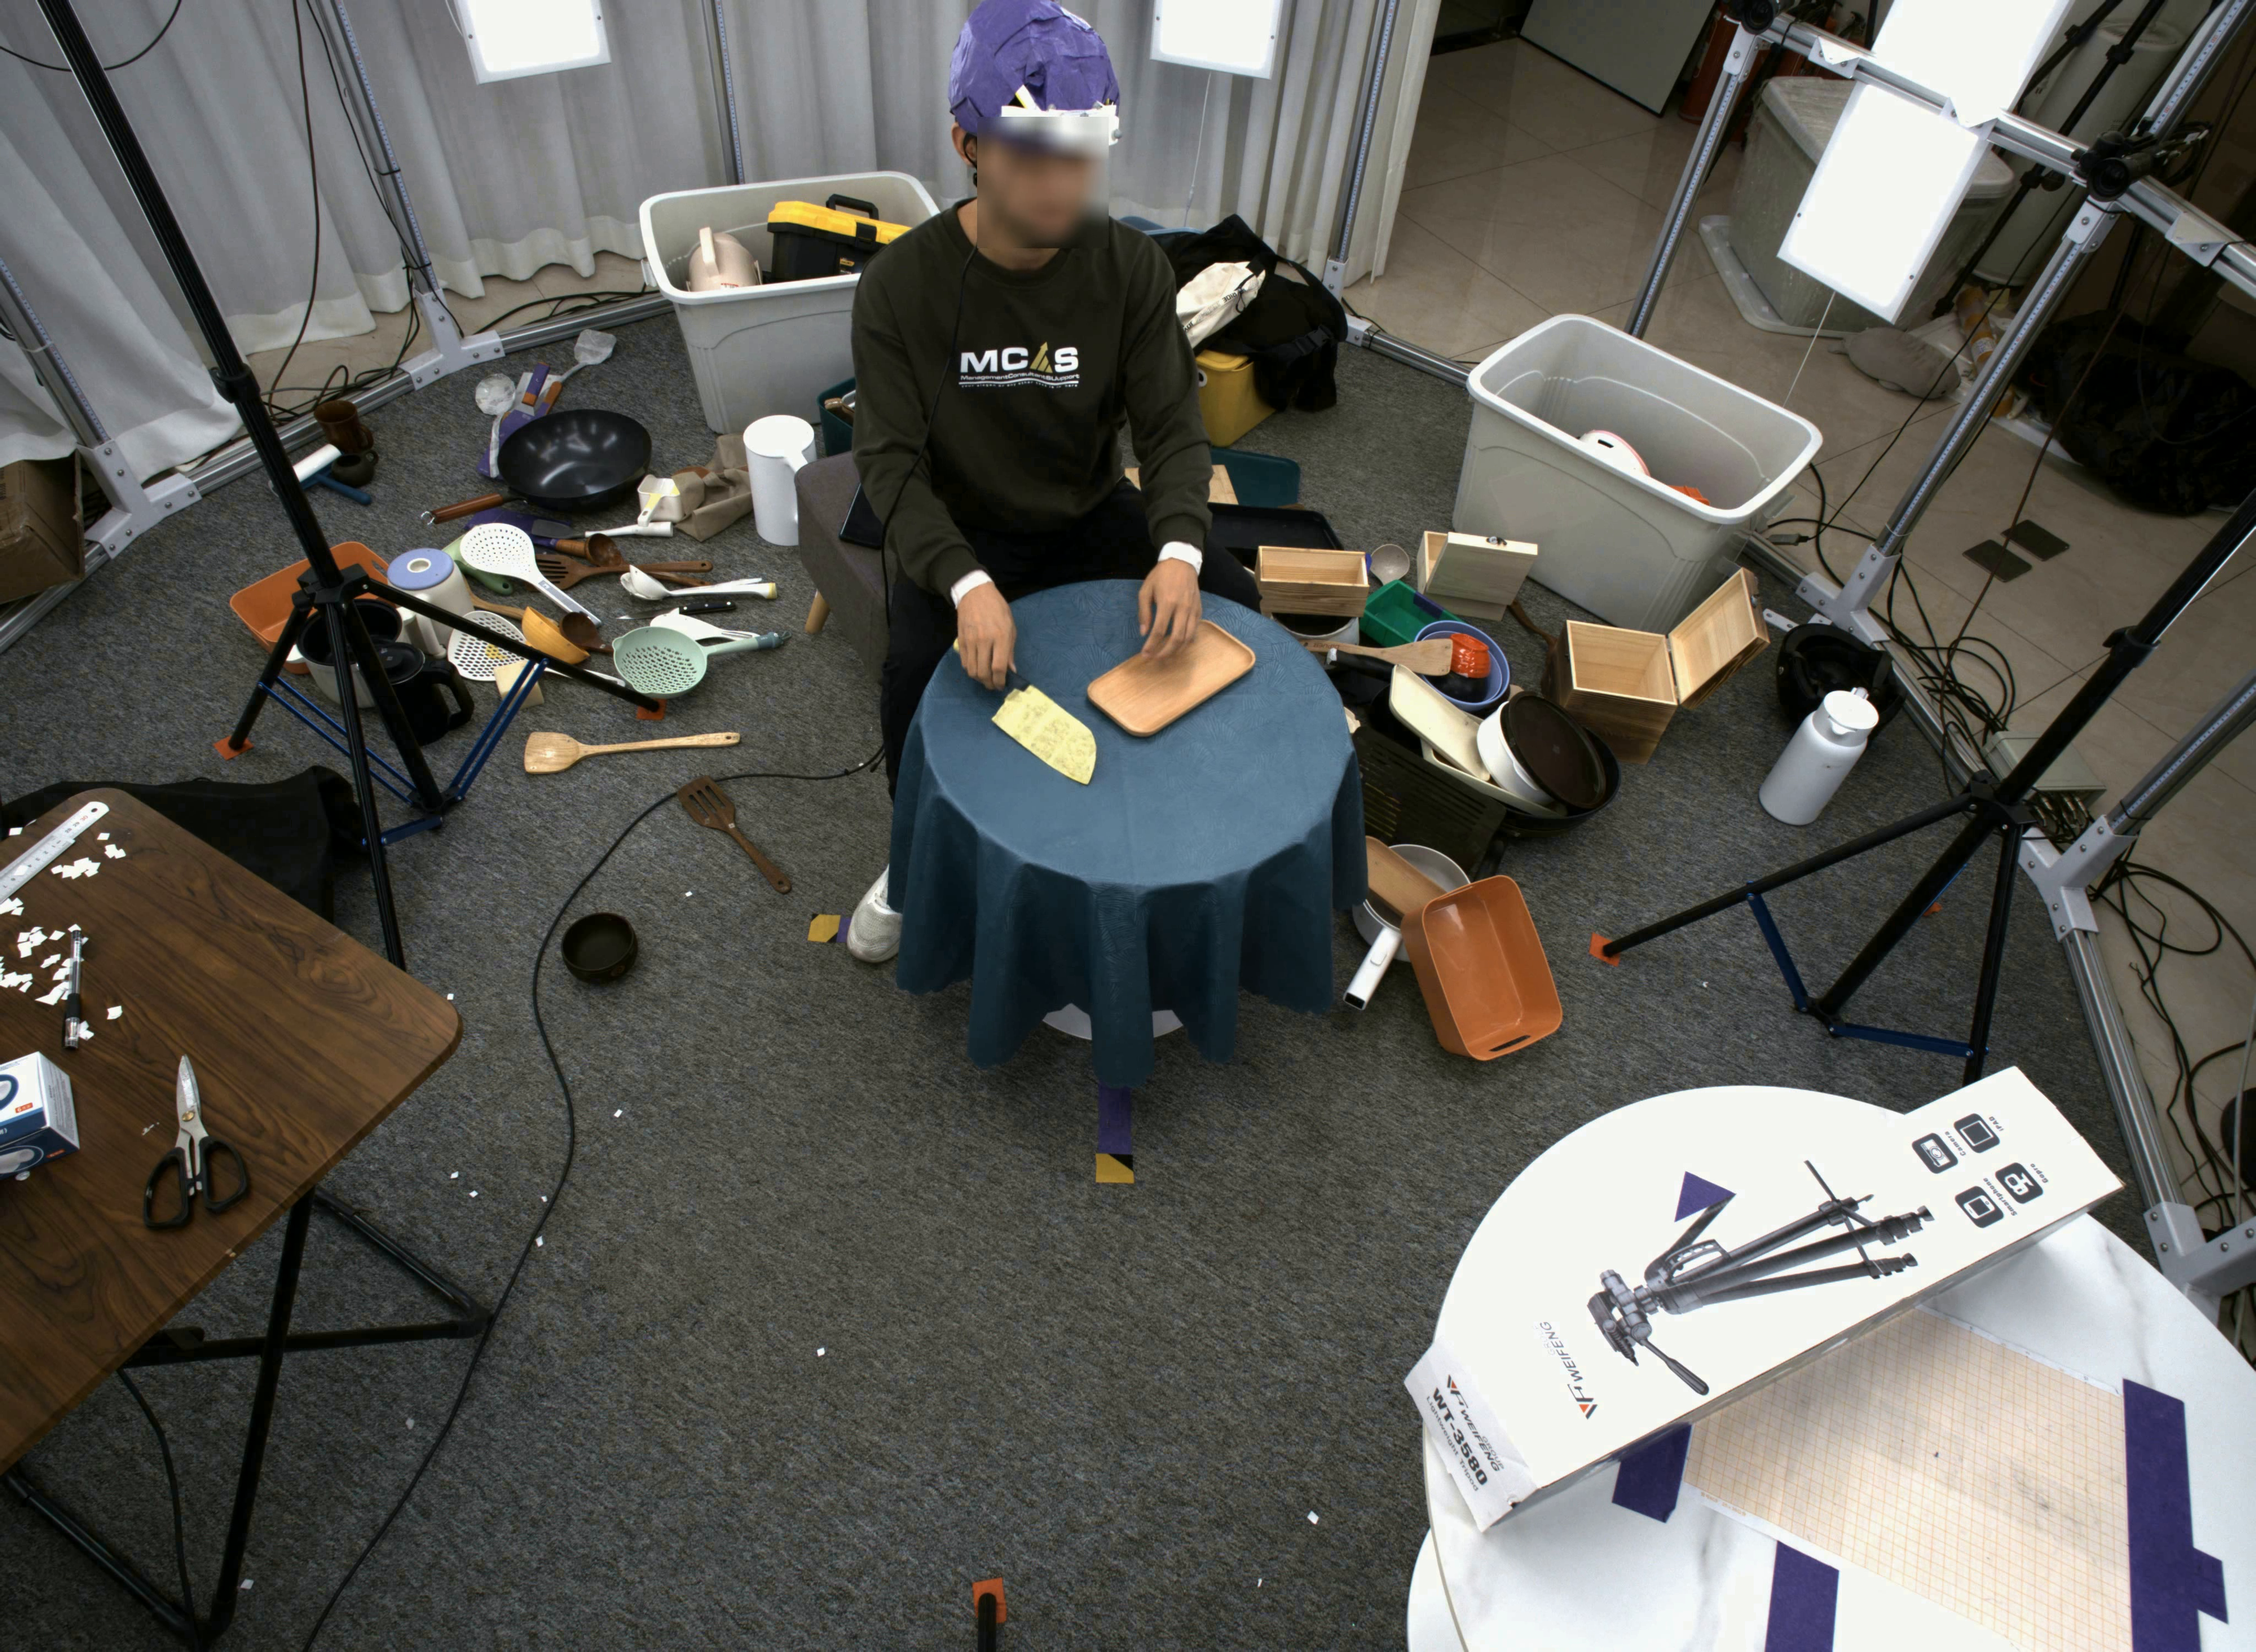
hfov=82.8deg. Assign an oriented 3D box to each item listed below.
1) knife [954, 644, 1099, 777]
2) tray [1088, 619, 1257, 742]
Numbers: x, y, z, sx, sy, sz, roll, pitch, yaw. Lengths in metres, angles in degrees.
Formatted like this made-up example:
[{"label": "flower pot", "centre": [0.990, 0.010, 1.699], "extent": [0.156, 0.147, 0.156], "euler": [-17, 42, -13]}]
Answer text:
[{"label": "knife", "centre": [-0.146, -0.160, 1.767], "extent": [0.294, 0.027, 0.081], "euler": [41, 85, 24]}, {"label": "tray", "centre": [0.066, -0.211, 1.849], "extent": [0.253, 0.022, 0.132], "euler": [-36, 57, -26]}]
